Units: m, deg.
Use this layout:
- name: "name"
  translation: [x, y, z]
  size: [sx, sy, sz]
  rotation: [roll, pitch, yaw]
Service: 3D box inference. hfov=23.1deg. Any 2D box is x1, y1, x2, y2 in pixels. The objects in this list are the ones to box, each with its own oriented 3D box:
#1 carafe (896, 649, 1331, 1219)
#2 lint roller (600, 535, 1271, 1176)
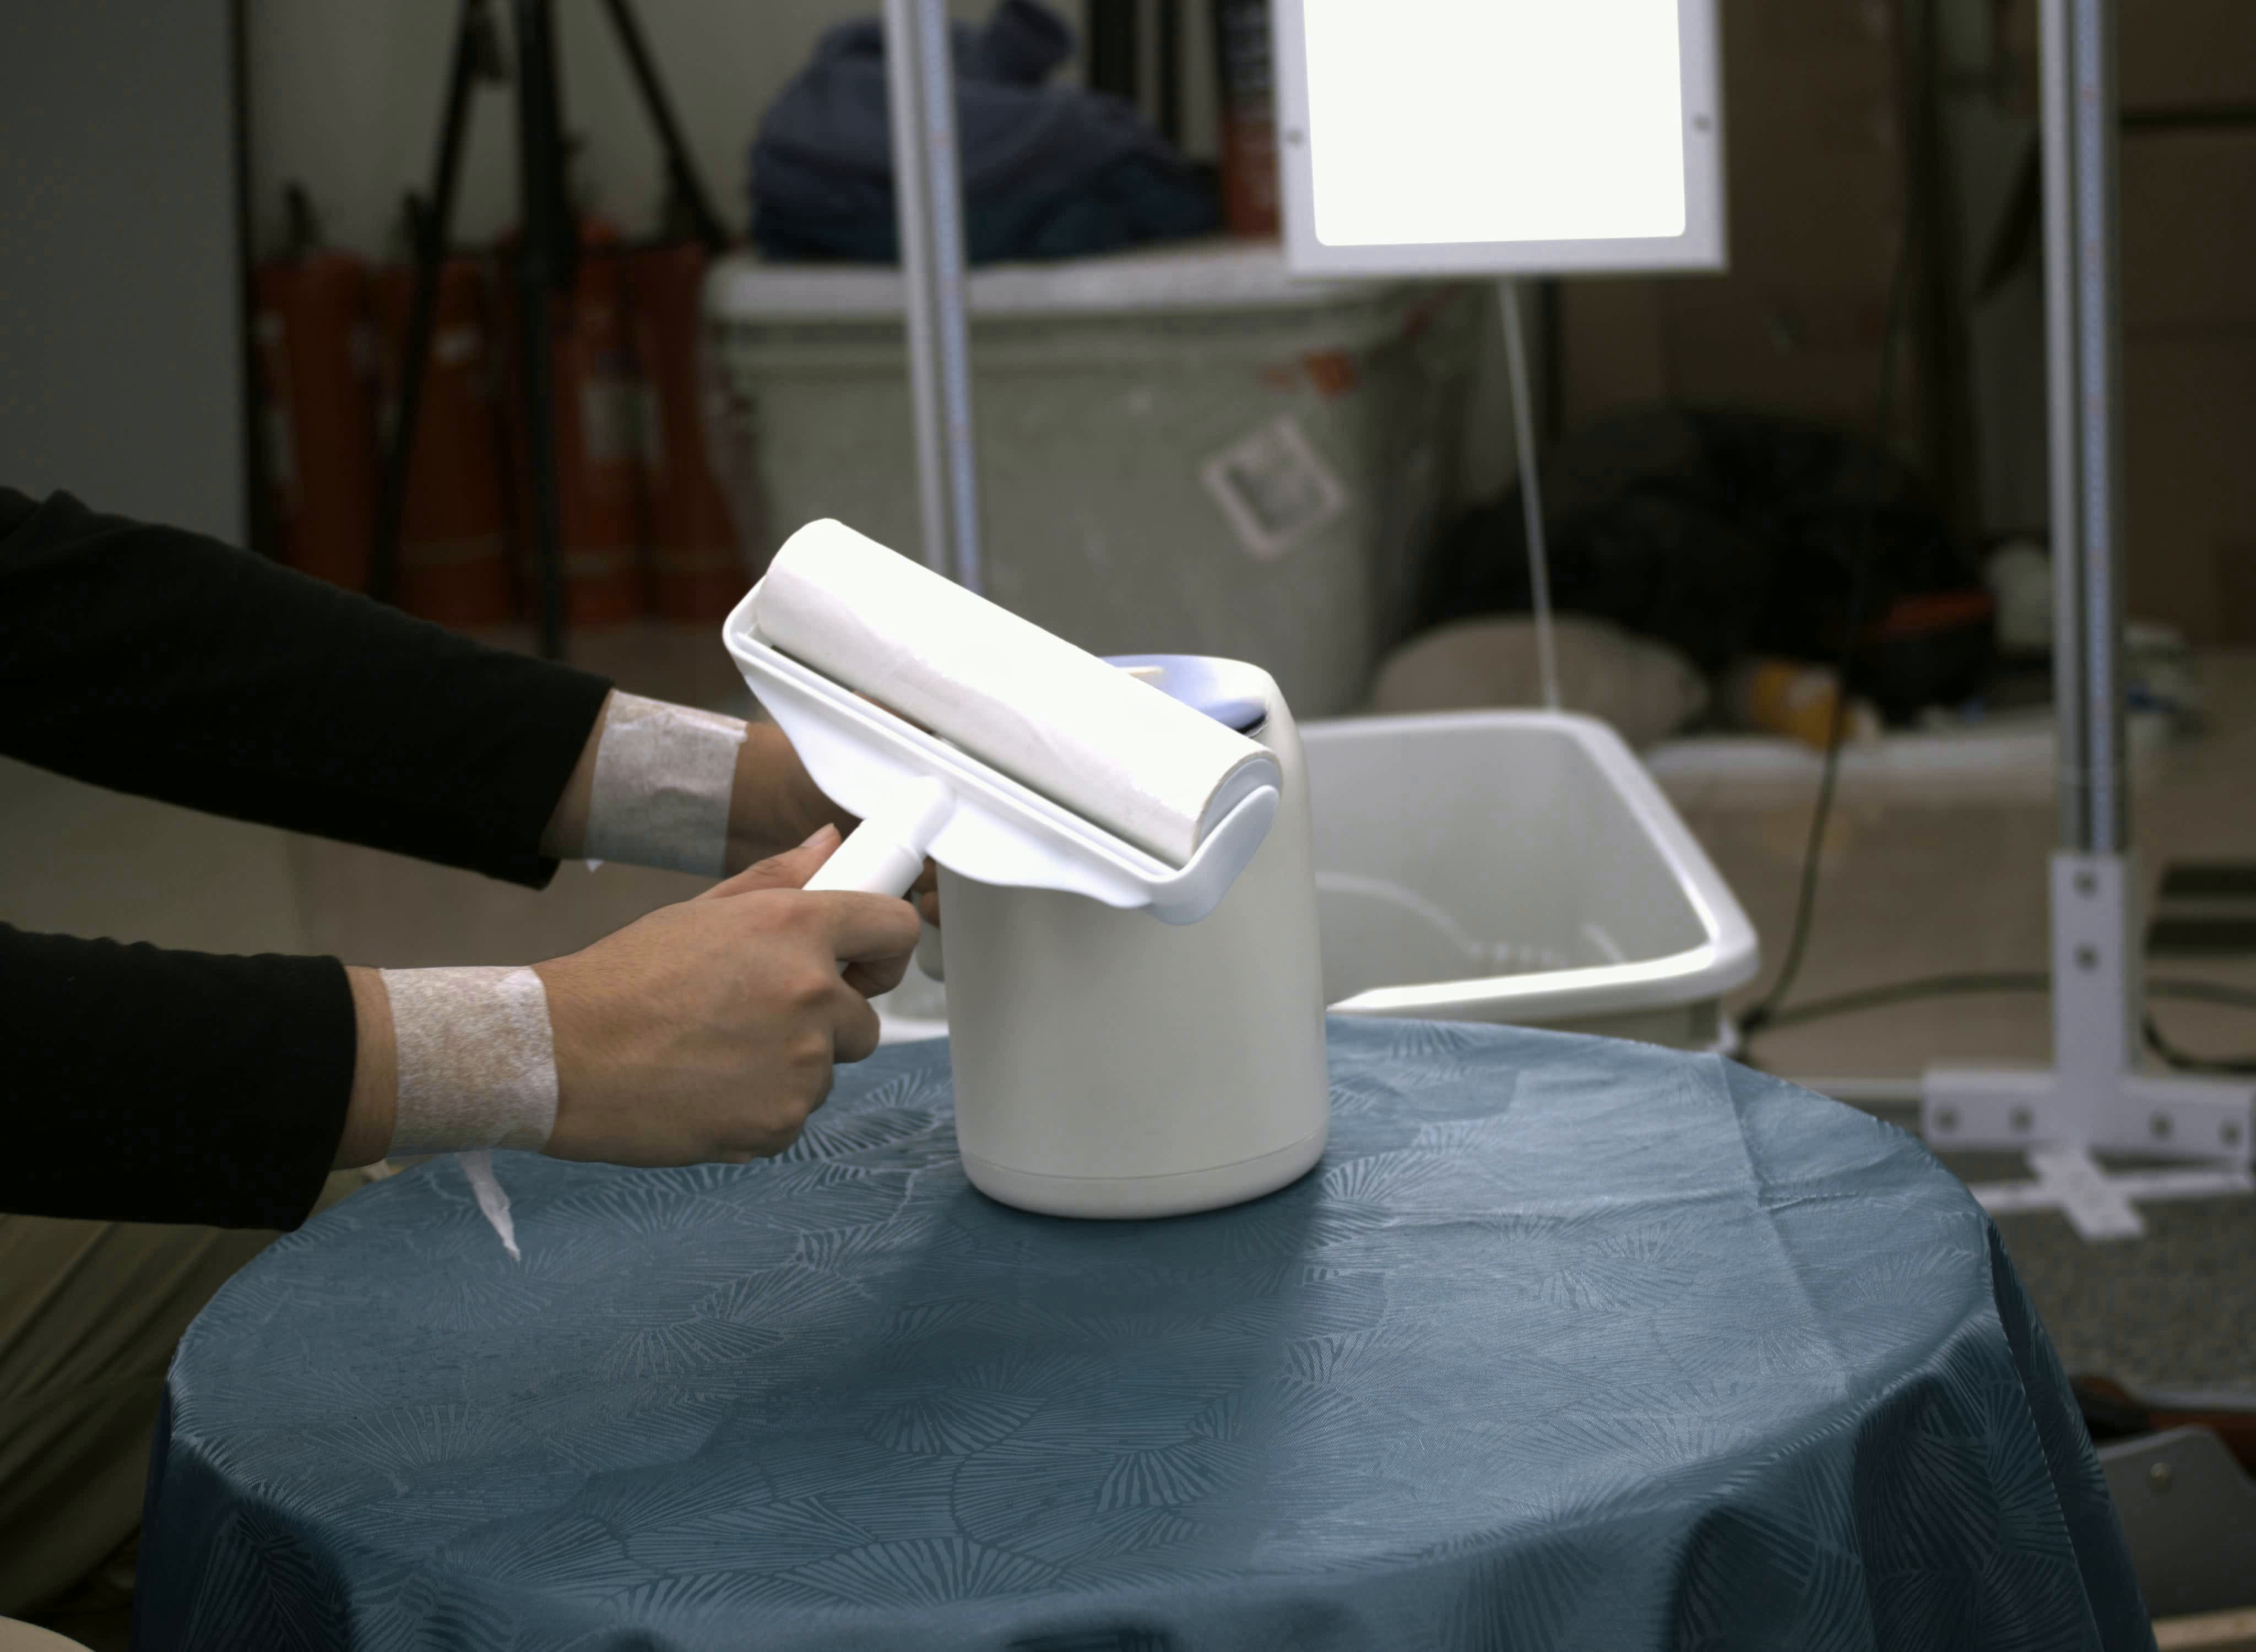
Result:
- name: "carafe"
  translation: [-0.016, 0.034, 1.920]
  size: [0.129, 0.183, 0.195]
  rotation: [-15, 15, -38]
- name: "lint roller"
  translation: [-0.094, 0.022, 1.764]
  size: [0.206, 0.048, 0.223]
  rotation: [28, 66, 31]
